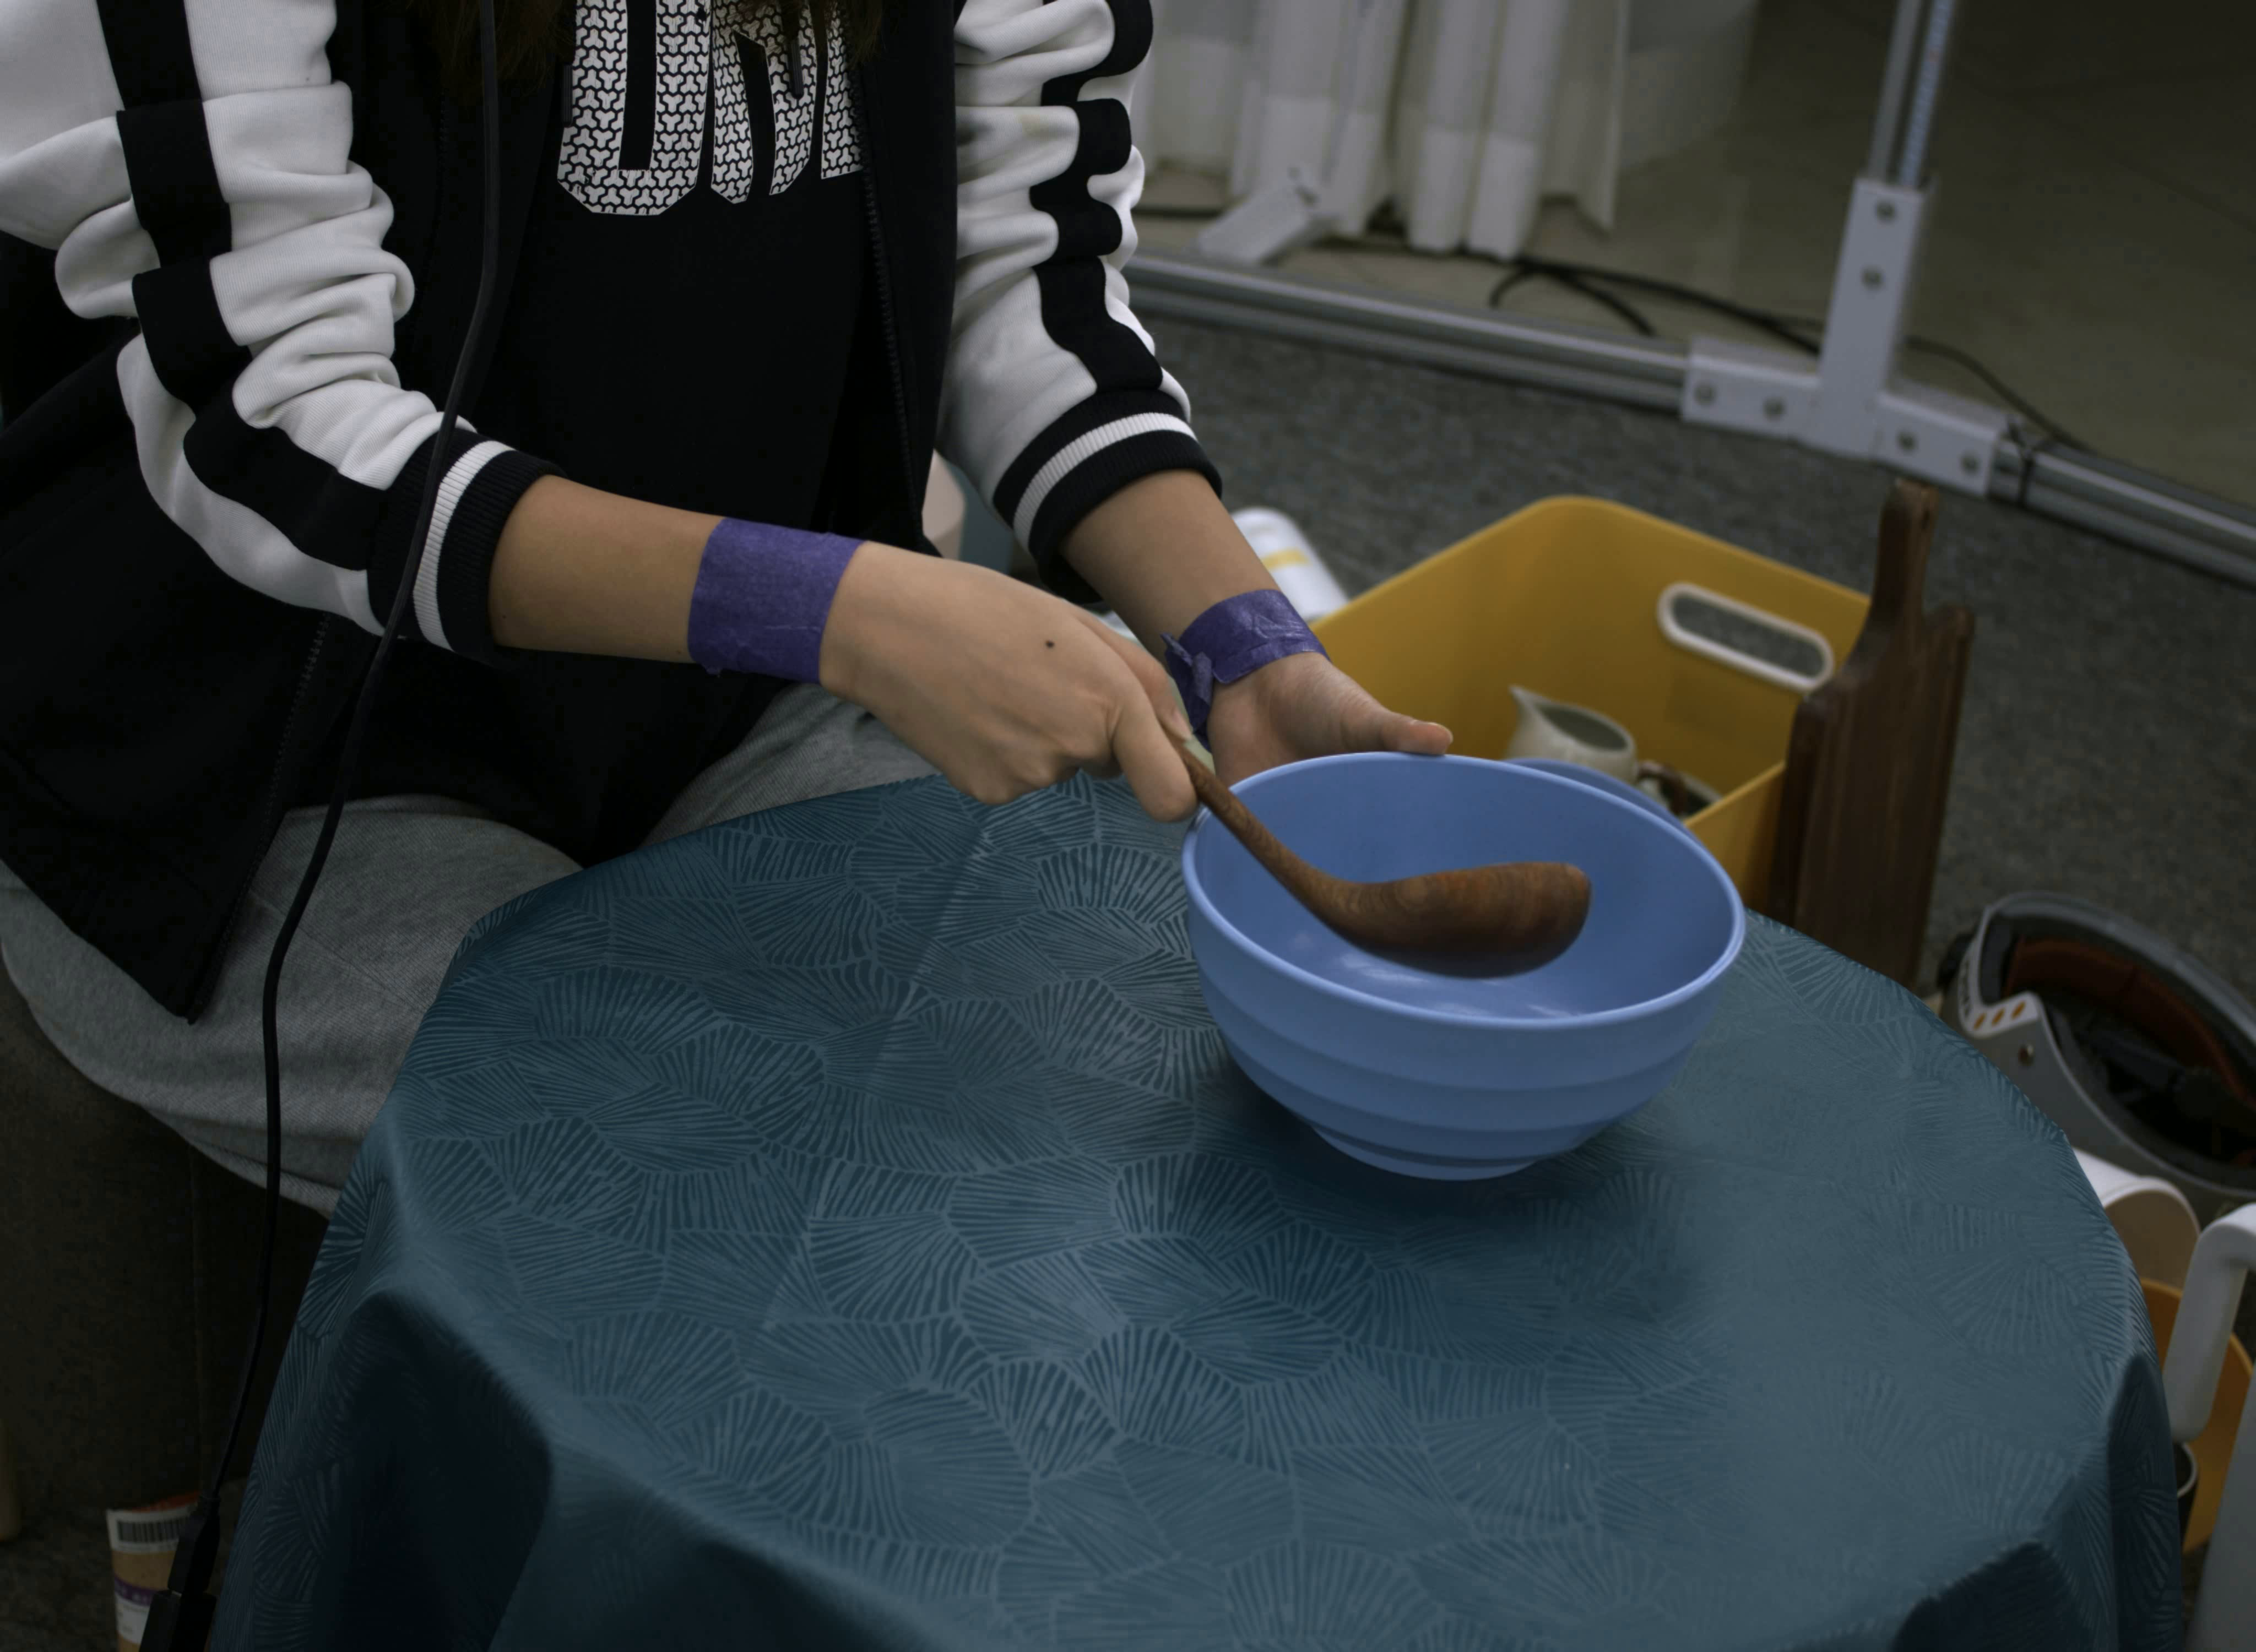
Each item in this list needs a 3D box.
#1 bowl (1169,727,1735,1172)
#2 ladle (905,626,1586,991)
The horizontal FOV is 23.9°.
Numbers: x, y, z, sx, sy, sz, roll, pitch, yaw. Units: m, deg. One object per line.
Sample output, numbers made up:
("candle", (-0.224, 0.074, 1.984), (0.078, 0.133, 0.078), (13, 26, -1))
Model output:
("bowl", (0.108, 0.056, 1.855), (0.196, 0.095, 0.198), (3, 33, -2))
("ladle", (0.040, -0.018, 1.838), (0.261, 0.076, 0.065), (33, 78, 20))
